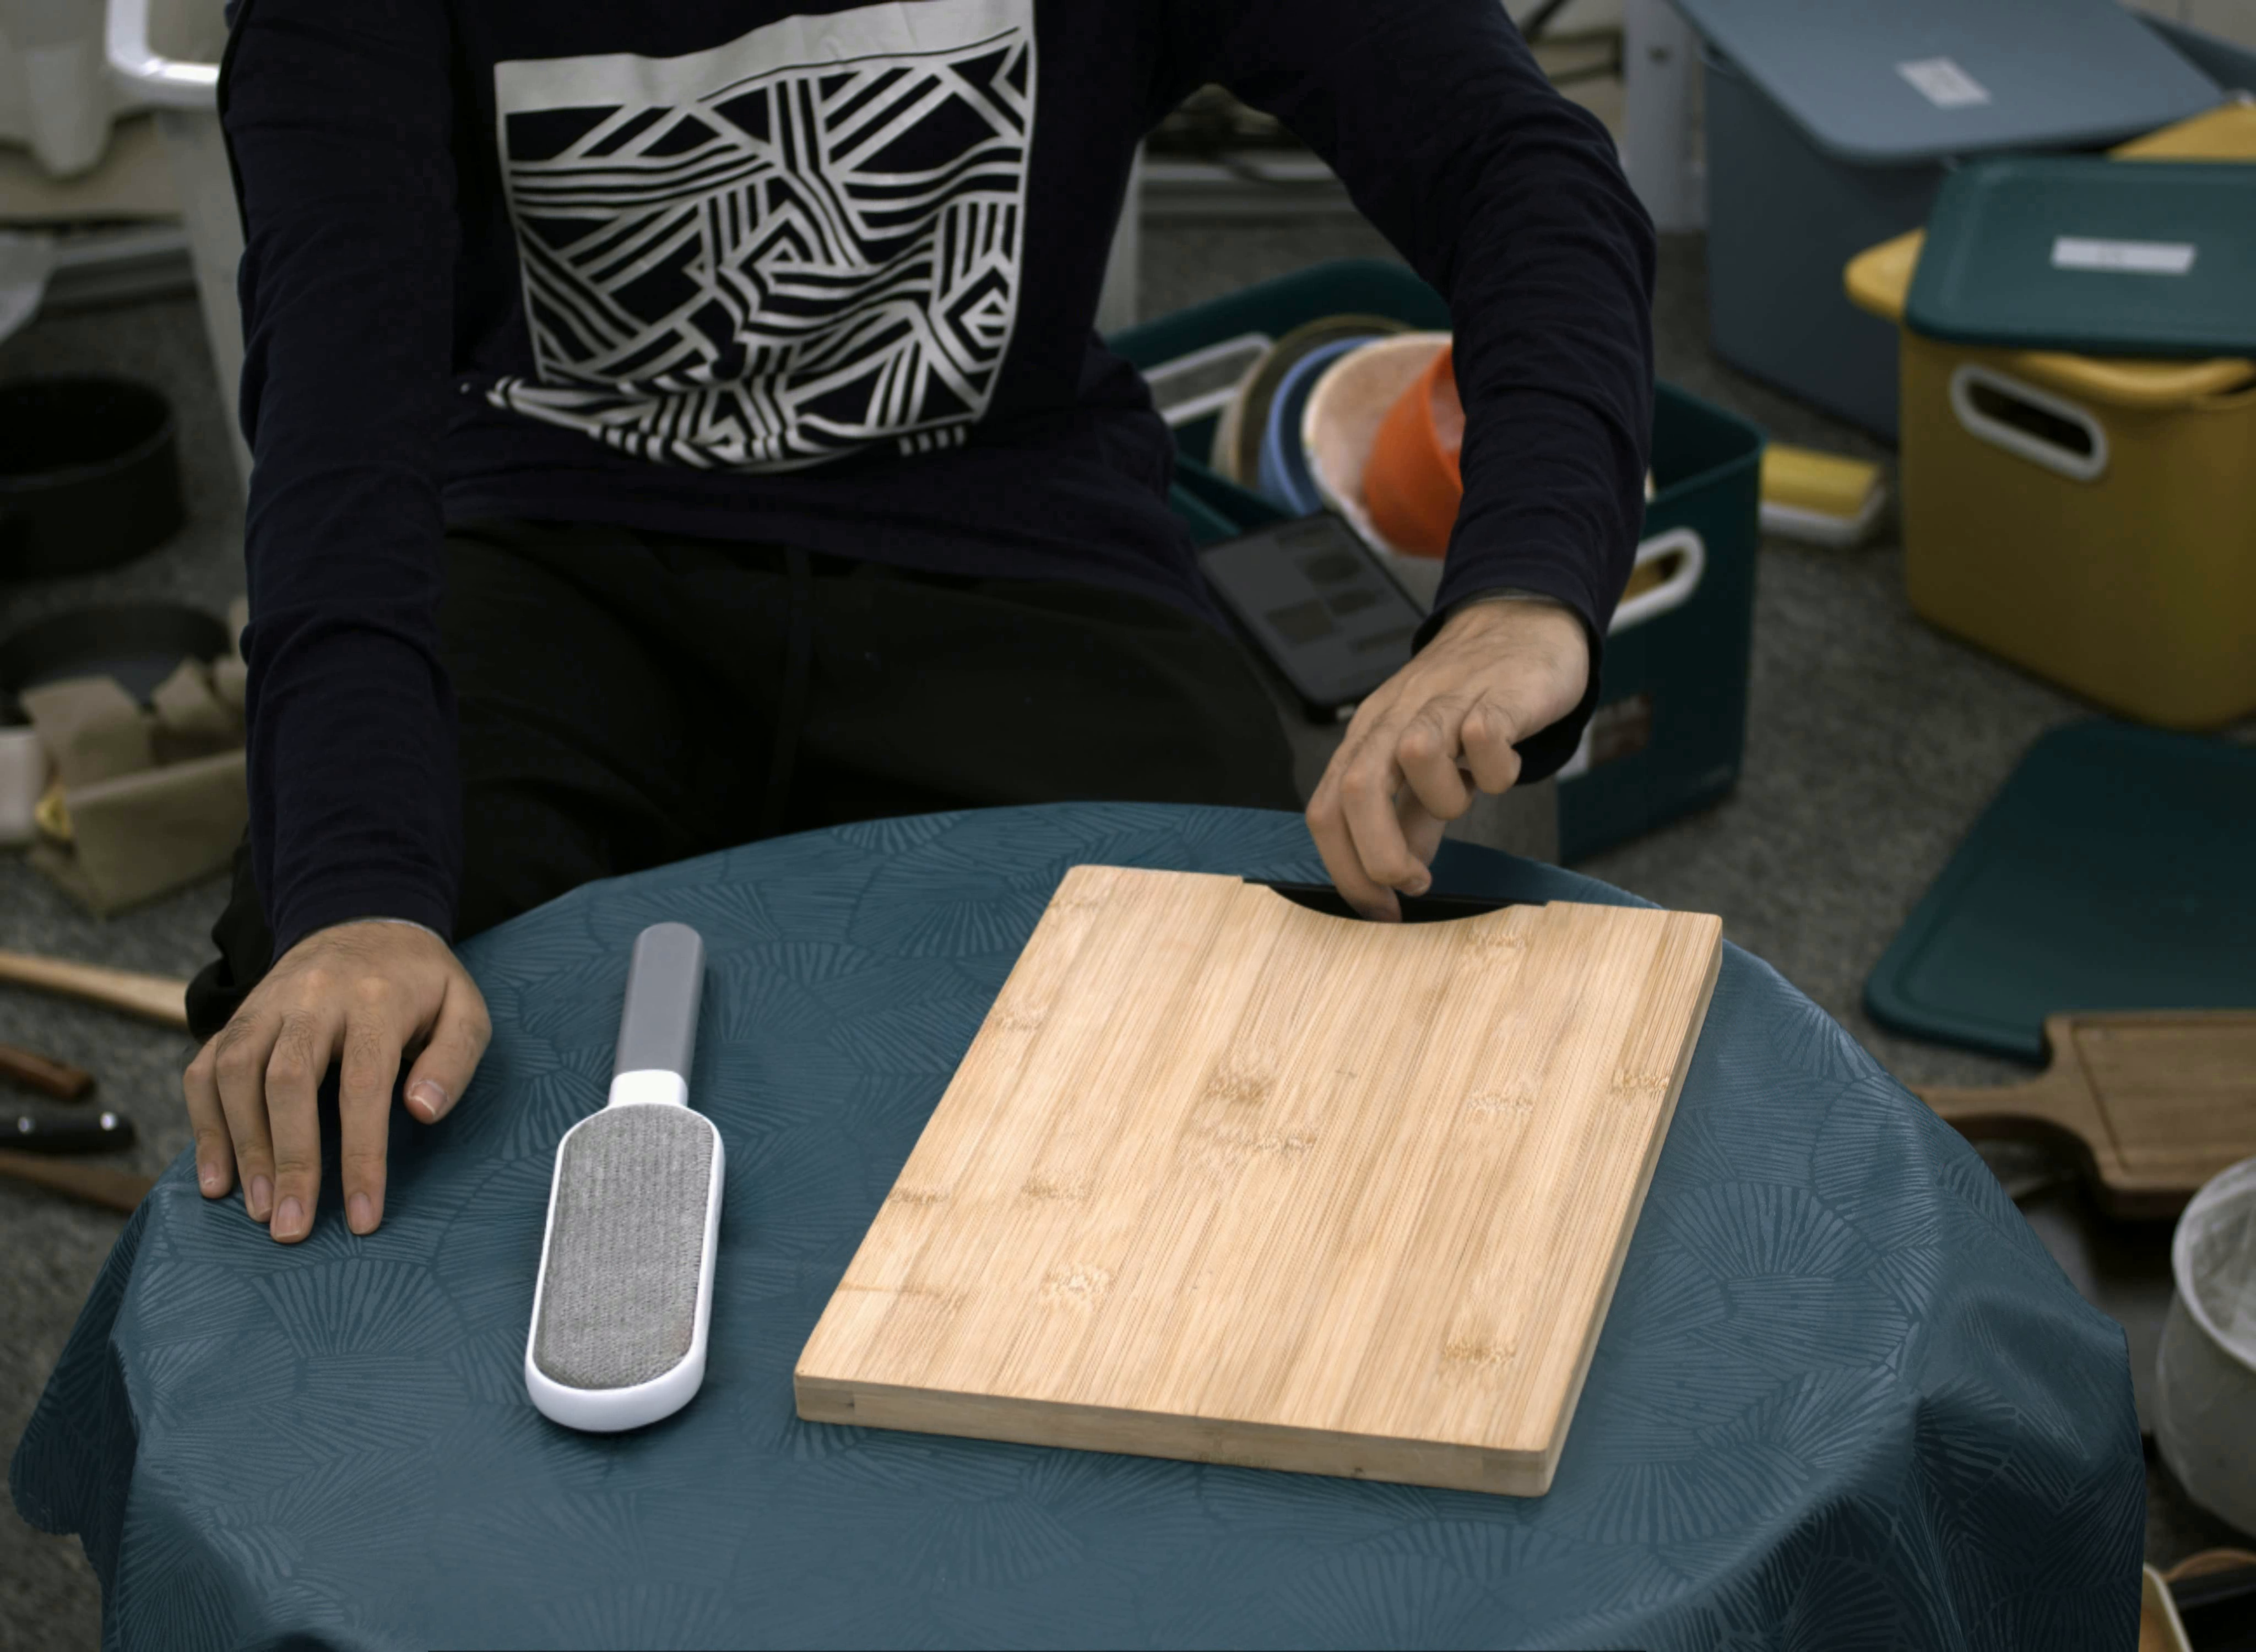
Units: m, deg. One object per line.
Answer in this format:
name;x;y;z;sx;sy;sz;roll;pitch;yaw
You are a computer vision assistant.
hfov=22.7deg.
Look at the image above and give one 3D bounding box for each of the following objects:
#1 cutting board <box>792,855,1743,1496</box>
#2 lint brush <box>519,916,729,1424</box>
cutting board;0.055;0.107;1.867;0.249;0.023;0.354;5;28;13
lint brush;-0.162;0.109;1.871;0.060;0.021;0.313;-7;27;3
